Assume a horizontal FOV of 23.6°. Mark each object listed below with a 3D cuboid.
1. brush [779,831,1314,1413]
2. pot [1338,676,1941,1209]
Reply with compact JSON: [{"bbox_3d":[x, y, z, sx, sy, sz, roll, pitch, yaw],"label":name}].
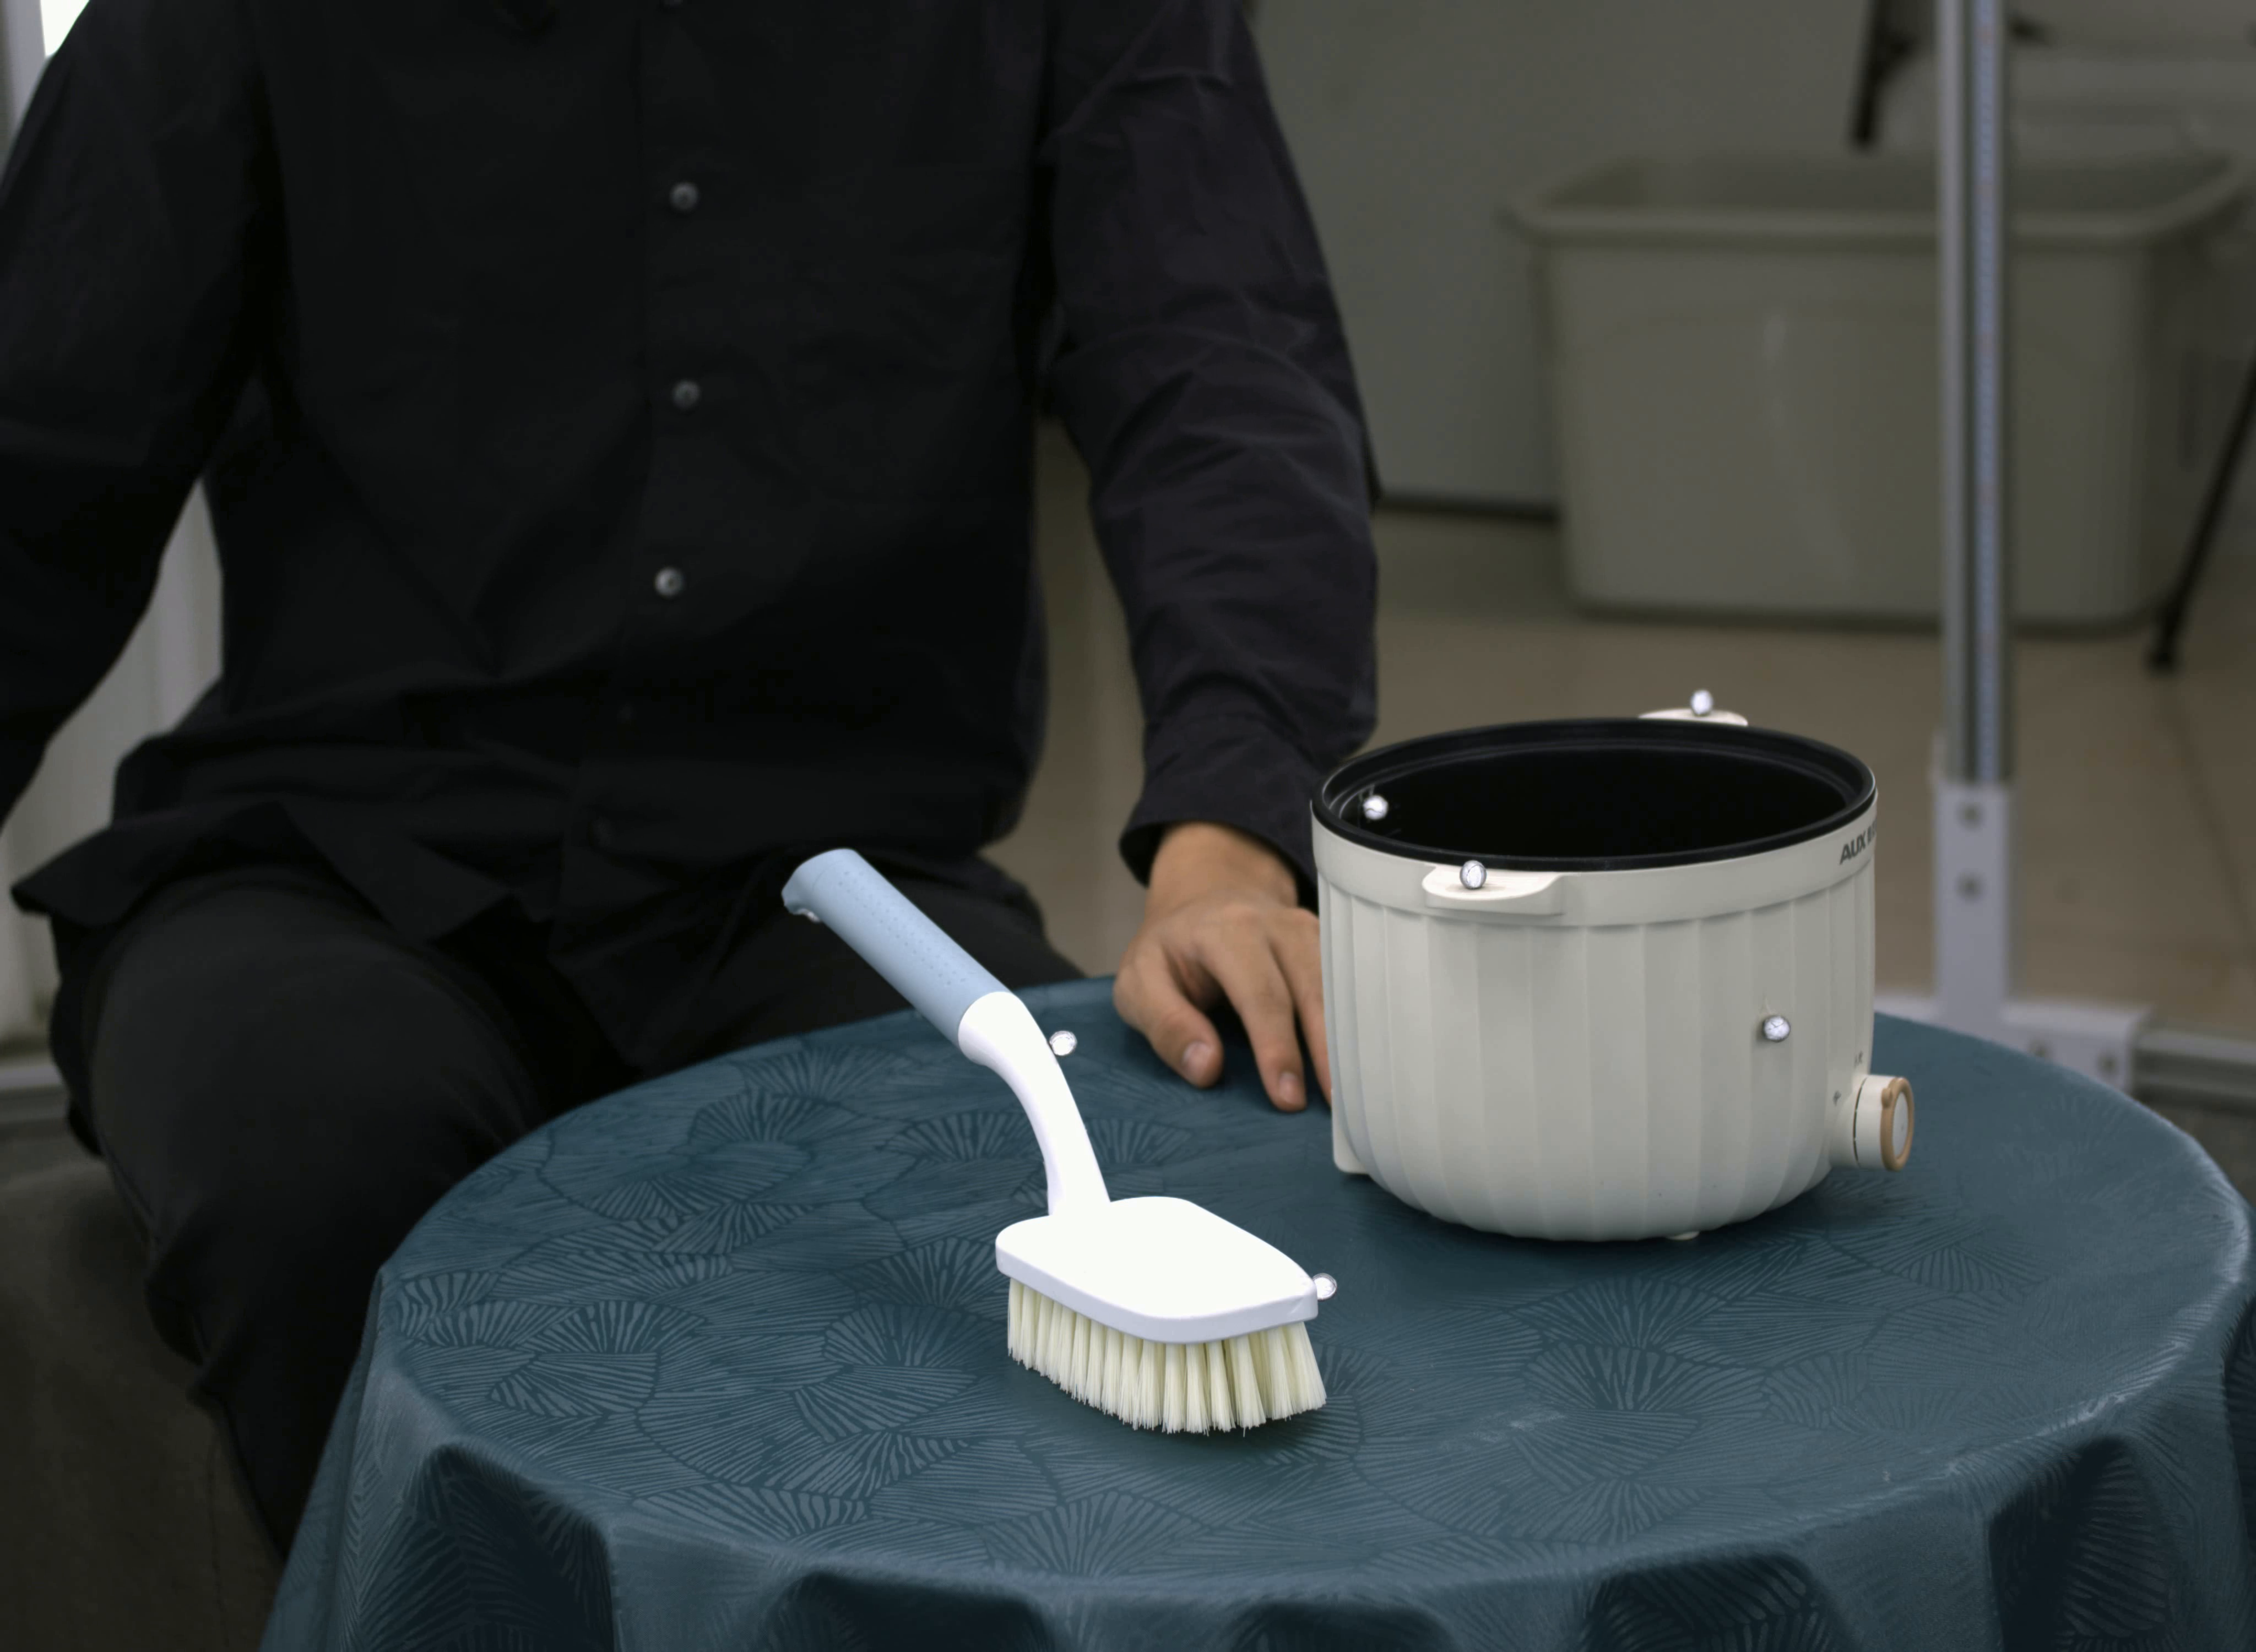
[{"bbox_3d":[-0.030,0.103,1.671,0.081,0.085,0.329,31,5,-36],"label":"brush"},{"bbox_3d":[0.166,0.040,1.738,0.190,0.144,0.238,0,15,24],"label":"pot"}]
